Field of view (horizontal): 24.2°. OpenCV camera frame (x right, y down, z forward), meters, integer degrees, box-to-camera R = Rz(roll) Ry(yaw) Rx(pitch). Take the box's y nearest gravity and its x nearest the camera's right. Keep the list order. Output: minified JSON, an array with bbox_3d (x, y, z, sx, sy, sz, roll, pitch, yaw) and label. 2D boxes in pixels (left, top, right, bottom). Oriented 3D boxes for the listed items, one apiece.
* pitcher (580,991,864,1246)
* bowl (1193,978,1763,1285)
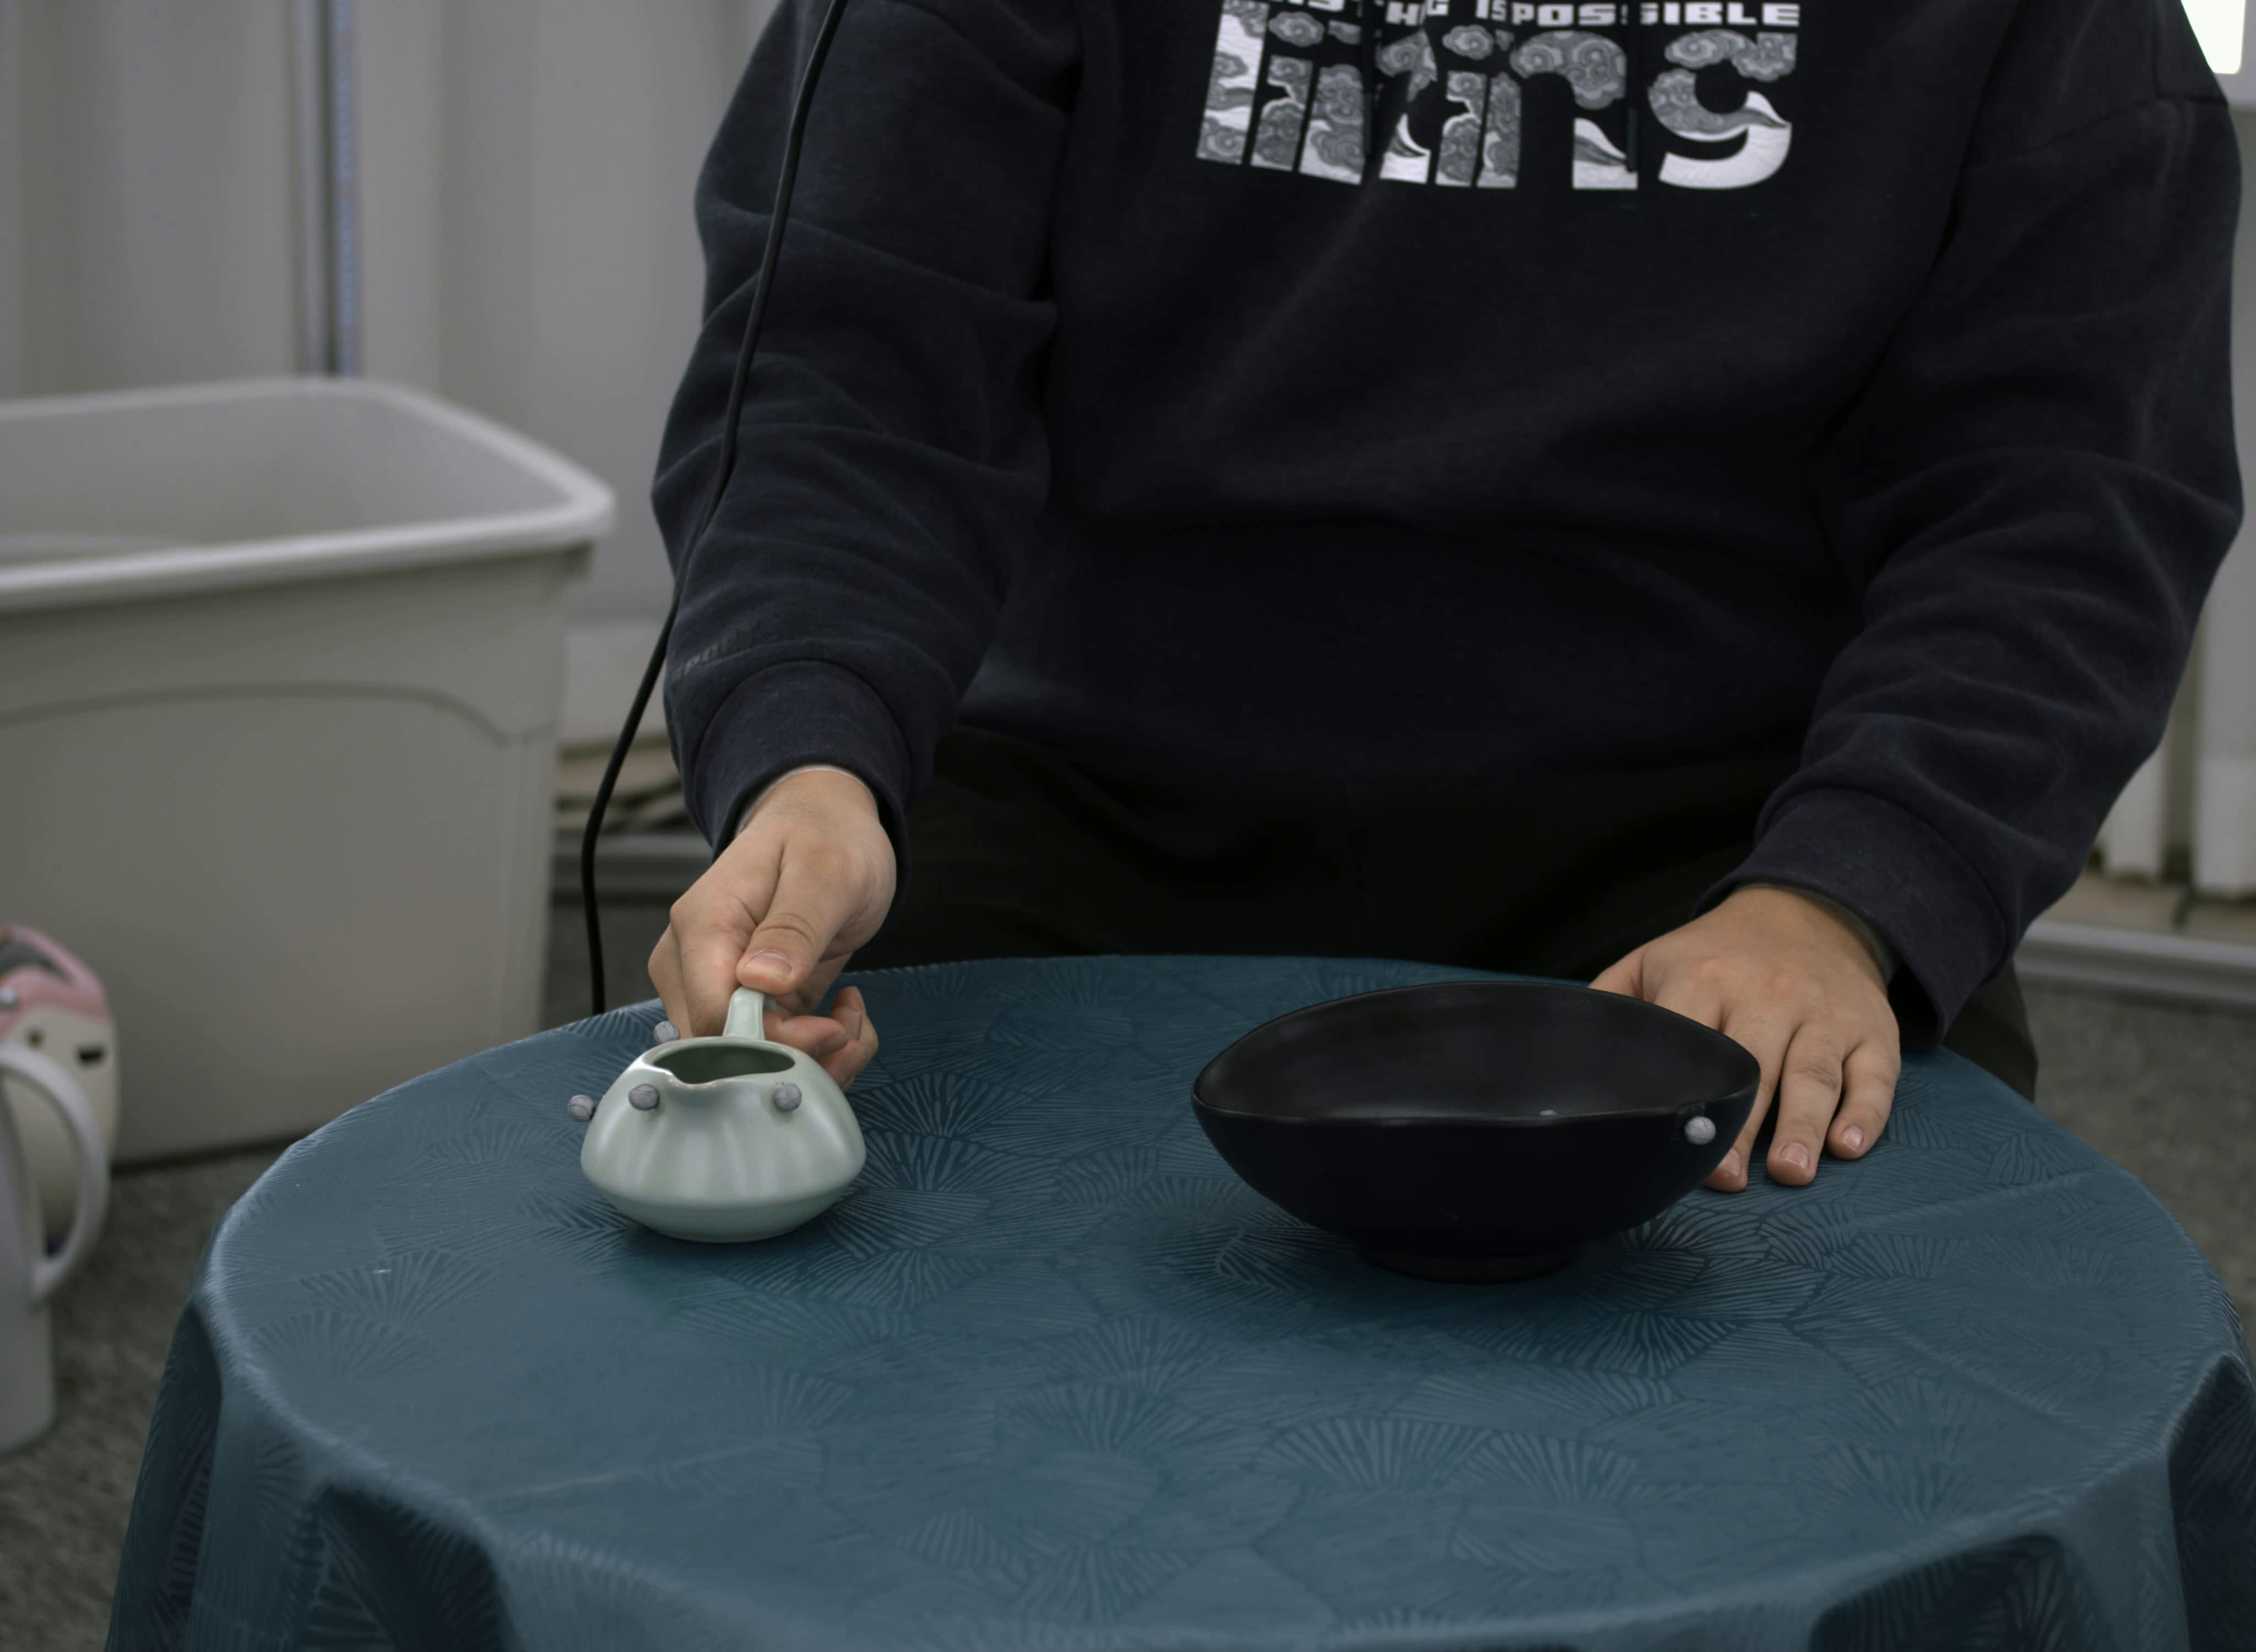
[{"bbox_3d":[-0.121,0.089,1.600,0.085,0.061,0.107,3,14,5],"label":"pitcher"},{"bbox_3d":[0.105,0.096,1.573,0.170,0.067,0.136,-1,15,-4],"label":"bowl"}]
